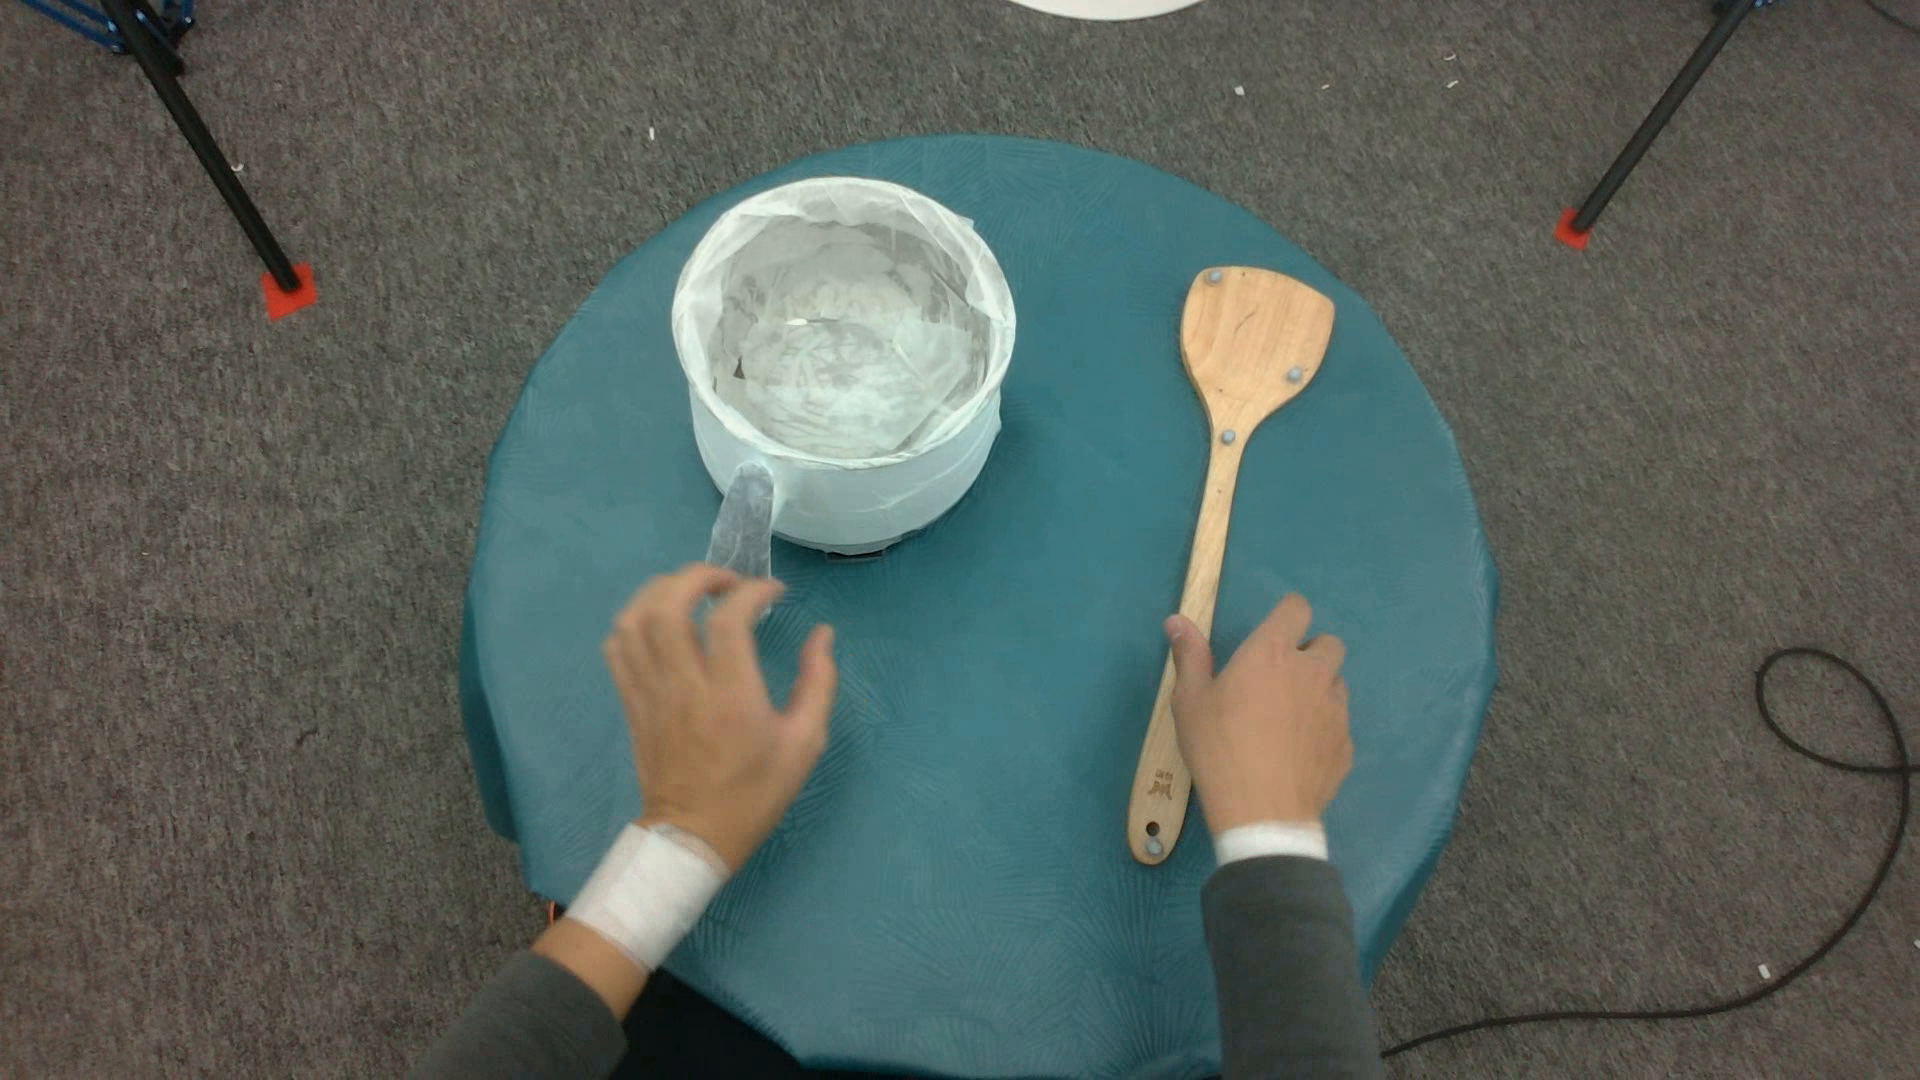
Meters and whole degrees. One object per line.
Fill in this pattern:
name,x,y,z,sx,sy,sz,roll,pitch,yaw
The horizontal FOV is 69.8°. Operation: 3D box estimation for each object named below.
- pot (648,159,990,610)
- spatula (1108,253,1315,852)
pot,-0.088,-0.077,0.759,0.178,0.136,0.234,22,67,4
spatula,0.140,-0.007,0.817,0.096,0.018,0.392,14,66,2
